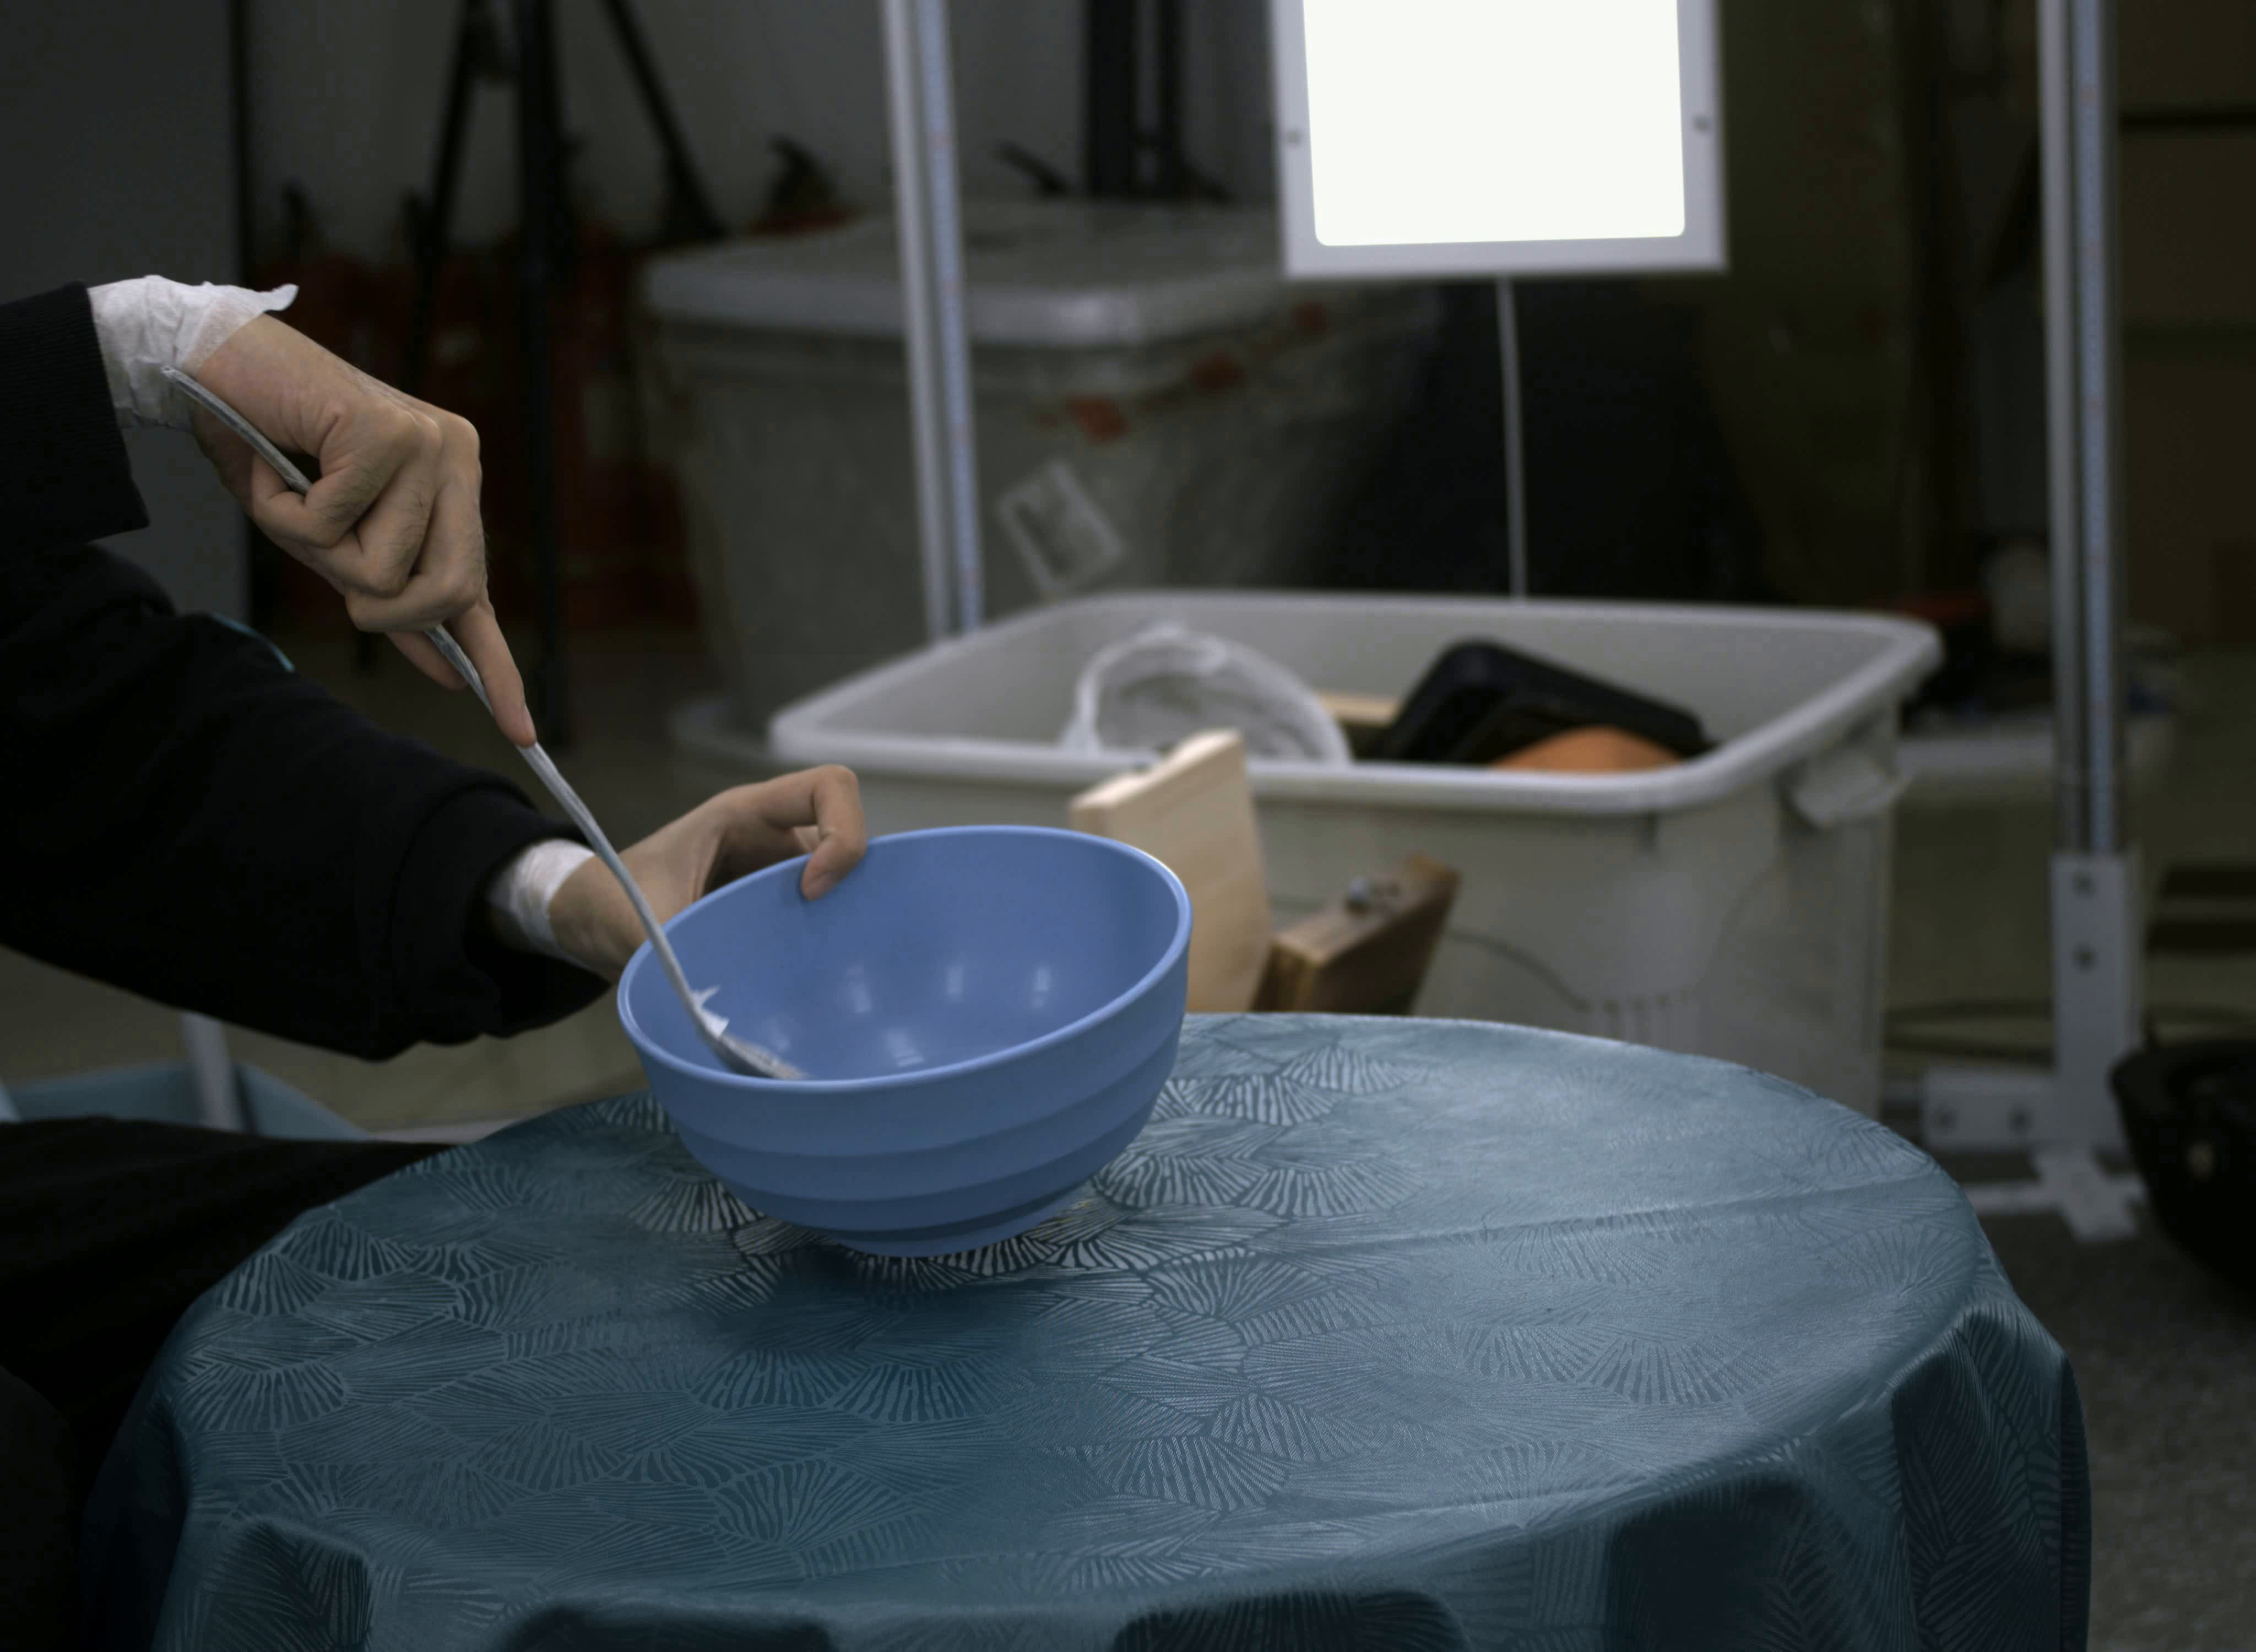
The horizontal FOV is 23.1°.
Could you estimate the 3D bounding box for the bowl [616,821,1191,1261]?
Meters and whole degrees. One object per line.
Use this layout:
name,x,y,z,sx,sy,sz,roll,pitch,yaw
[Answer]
bowl,-0.068,0.084,1.863,0.196,0.095,0.196,-10,25,3

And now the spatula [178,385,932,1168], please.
spatula,-0.179,-0.012,1.801,0.044,0.363,0.099,-38,13,-5
